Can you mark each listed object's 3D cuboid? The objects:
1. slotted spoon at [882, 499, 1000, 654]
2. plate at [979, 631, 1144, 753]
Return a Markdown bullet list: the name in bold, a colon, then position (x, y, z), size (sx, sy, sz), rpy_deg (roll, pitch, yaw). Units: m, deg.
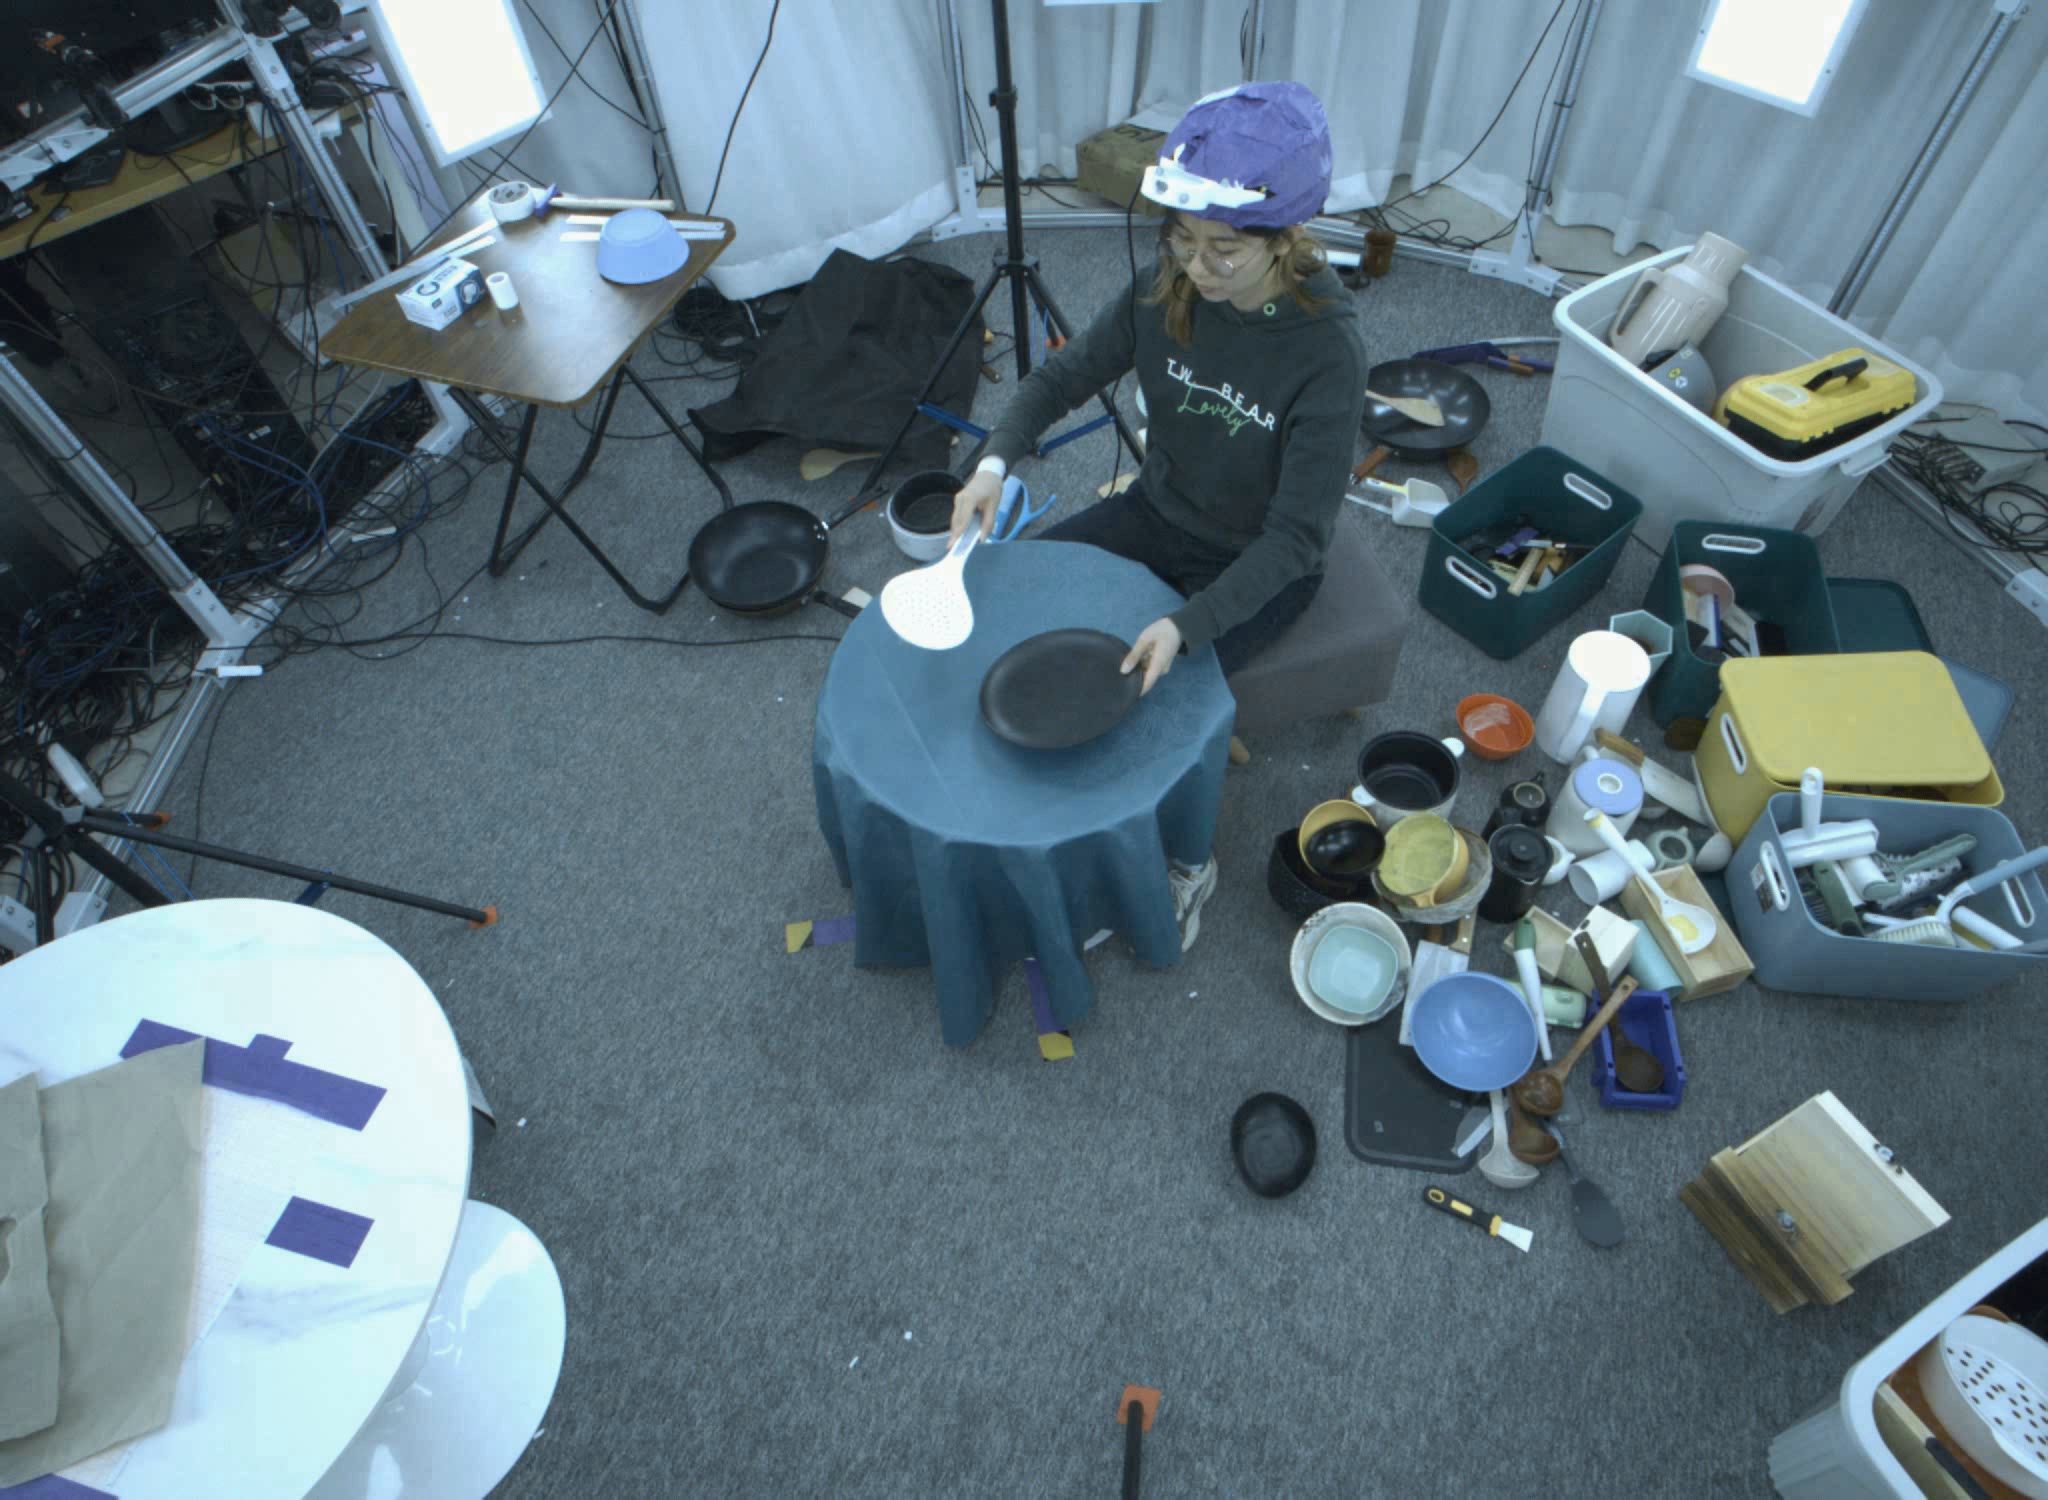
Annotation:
- **slotted spoon**: position (-0.107, -0.267, 1.820), size (0.137, 0.045, 0.349), rpy_deg (30, 55, -8)
- **plate**: position (0.056, -0.081, 1.791), size (0.243, 0.024, 0.242), rpy_deg (-6, 48, 8)
